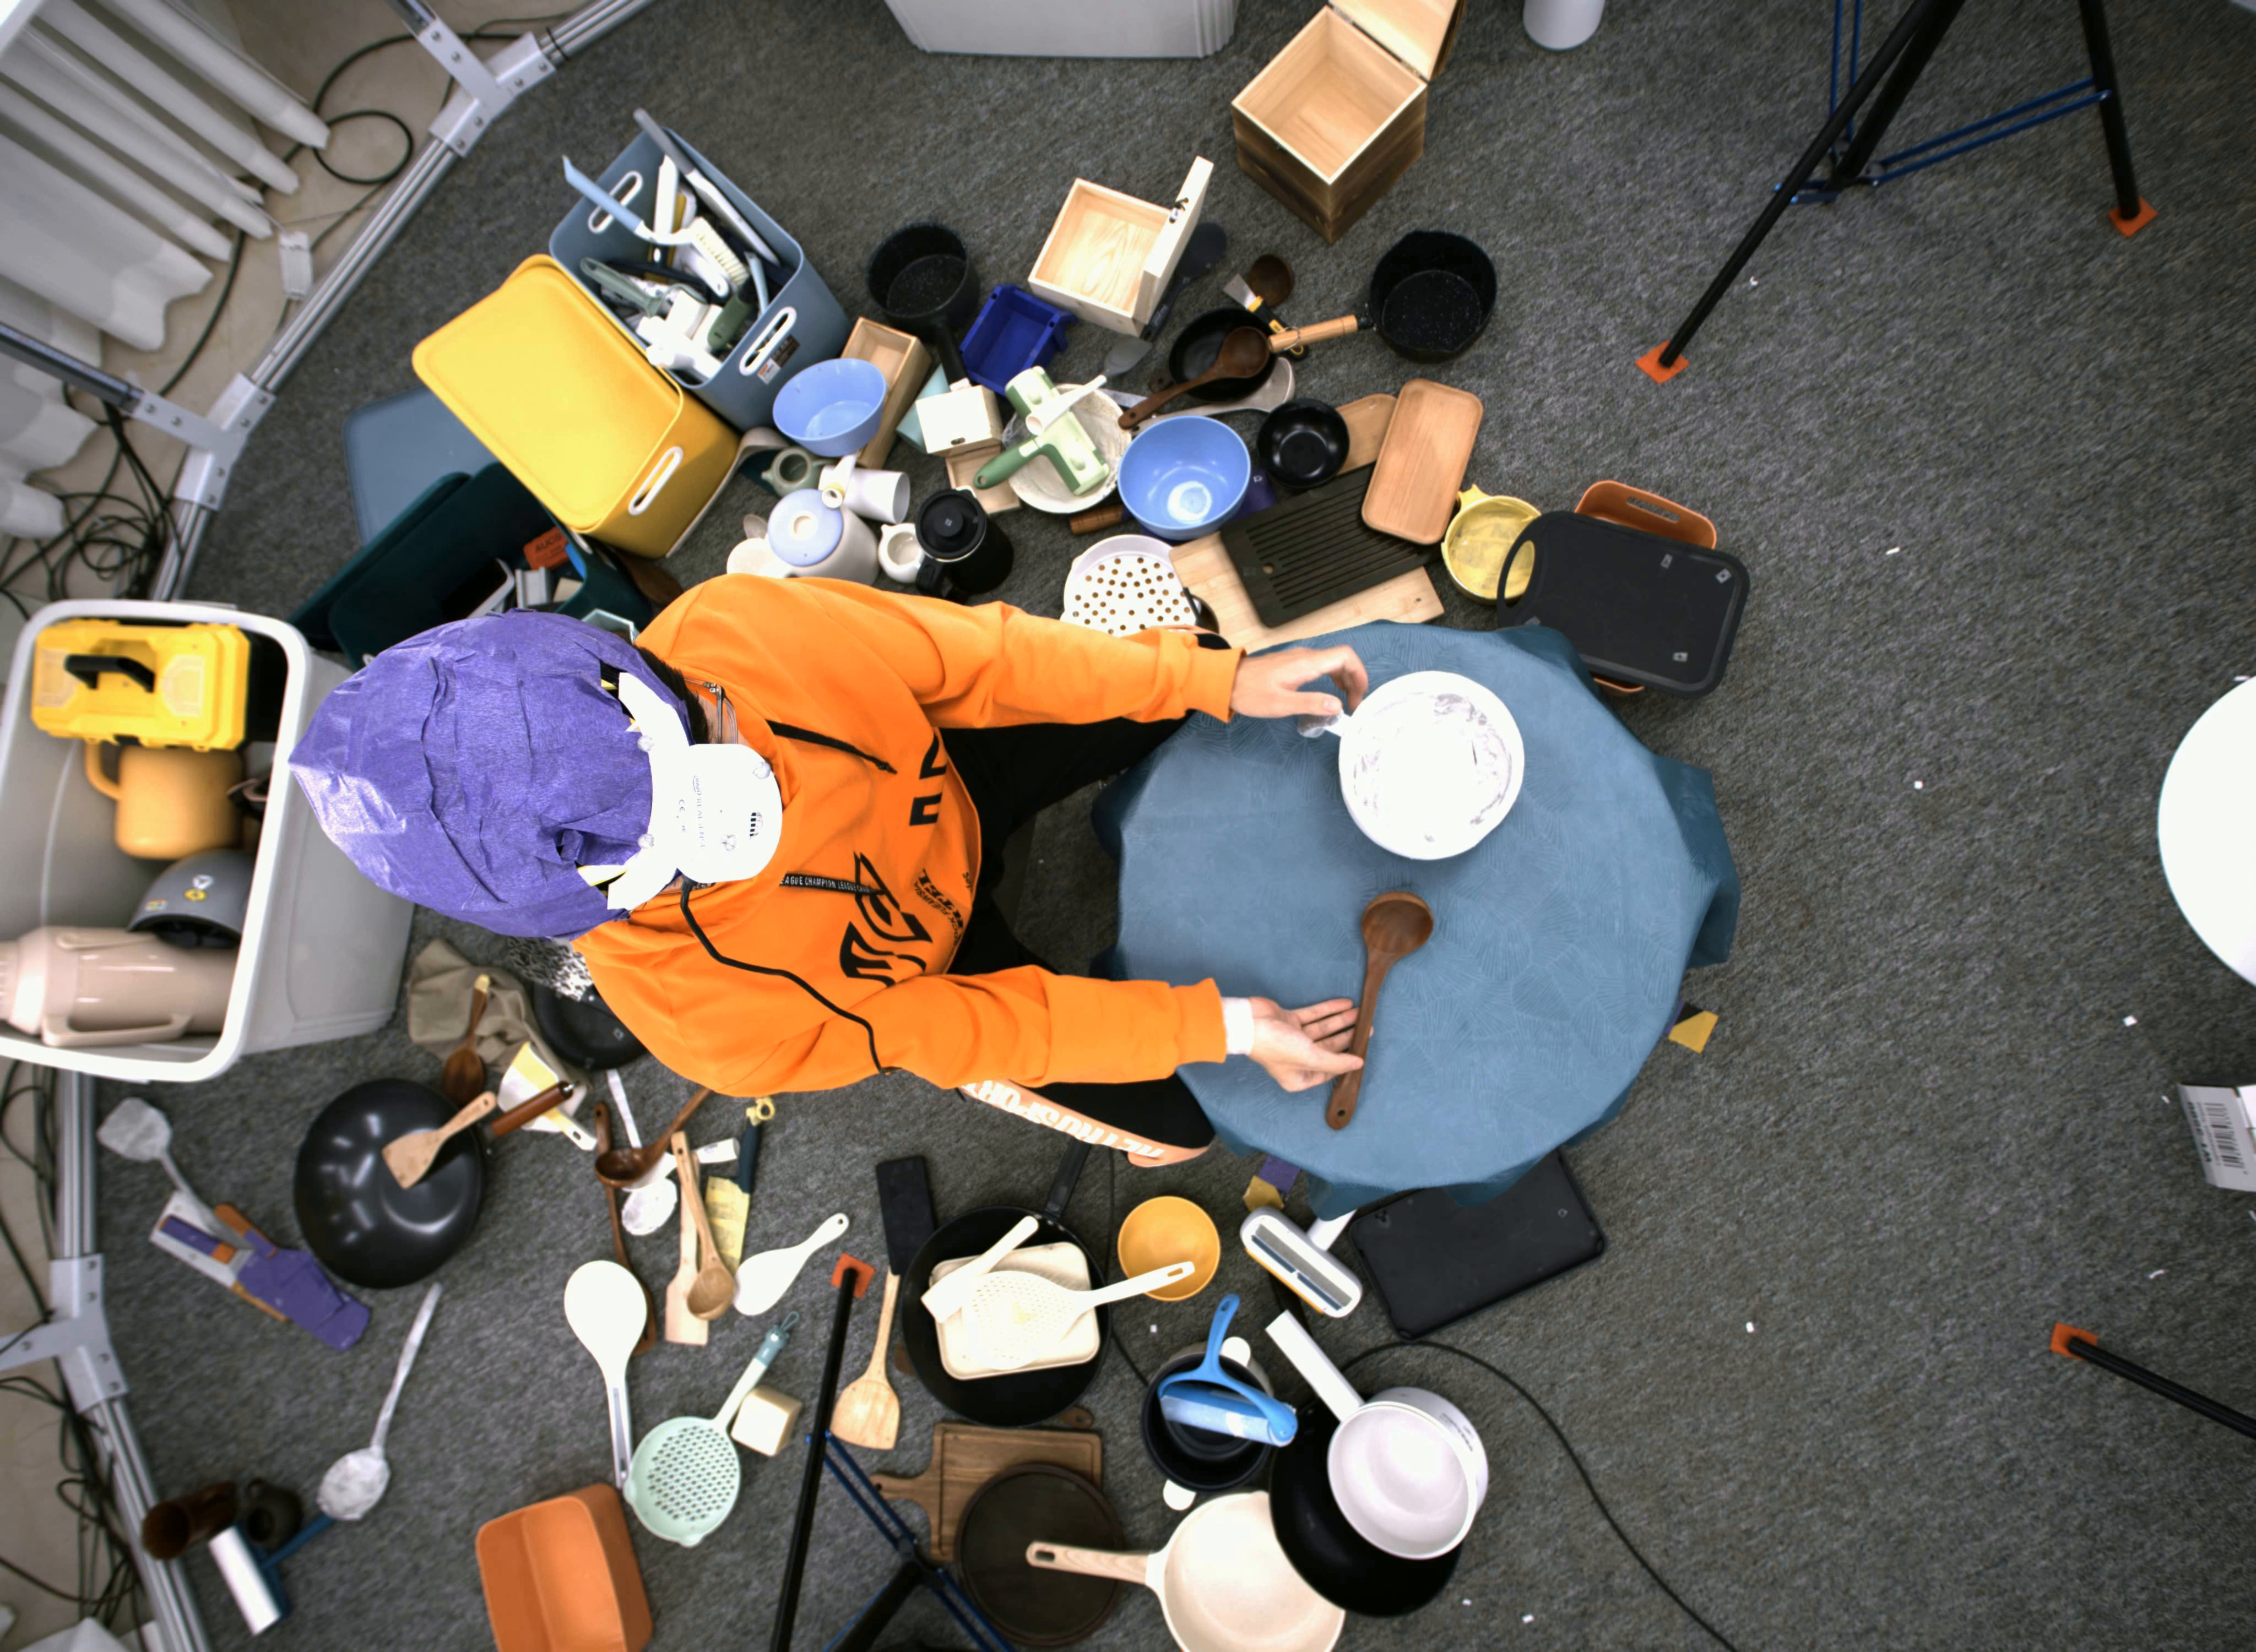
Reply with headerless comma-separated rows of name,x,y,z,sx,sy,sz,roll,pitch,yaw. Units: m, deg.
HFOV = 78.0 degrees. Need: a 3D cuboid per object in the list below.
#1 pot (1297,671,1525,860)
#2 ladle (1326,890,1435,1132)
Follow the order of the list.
pot,0.279,-0.070,1.396,0.233,0.137,0.178,25,90,11
ladle,0.251,0.191,1.425,0.076,0.065,0.260,16,89,2
